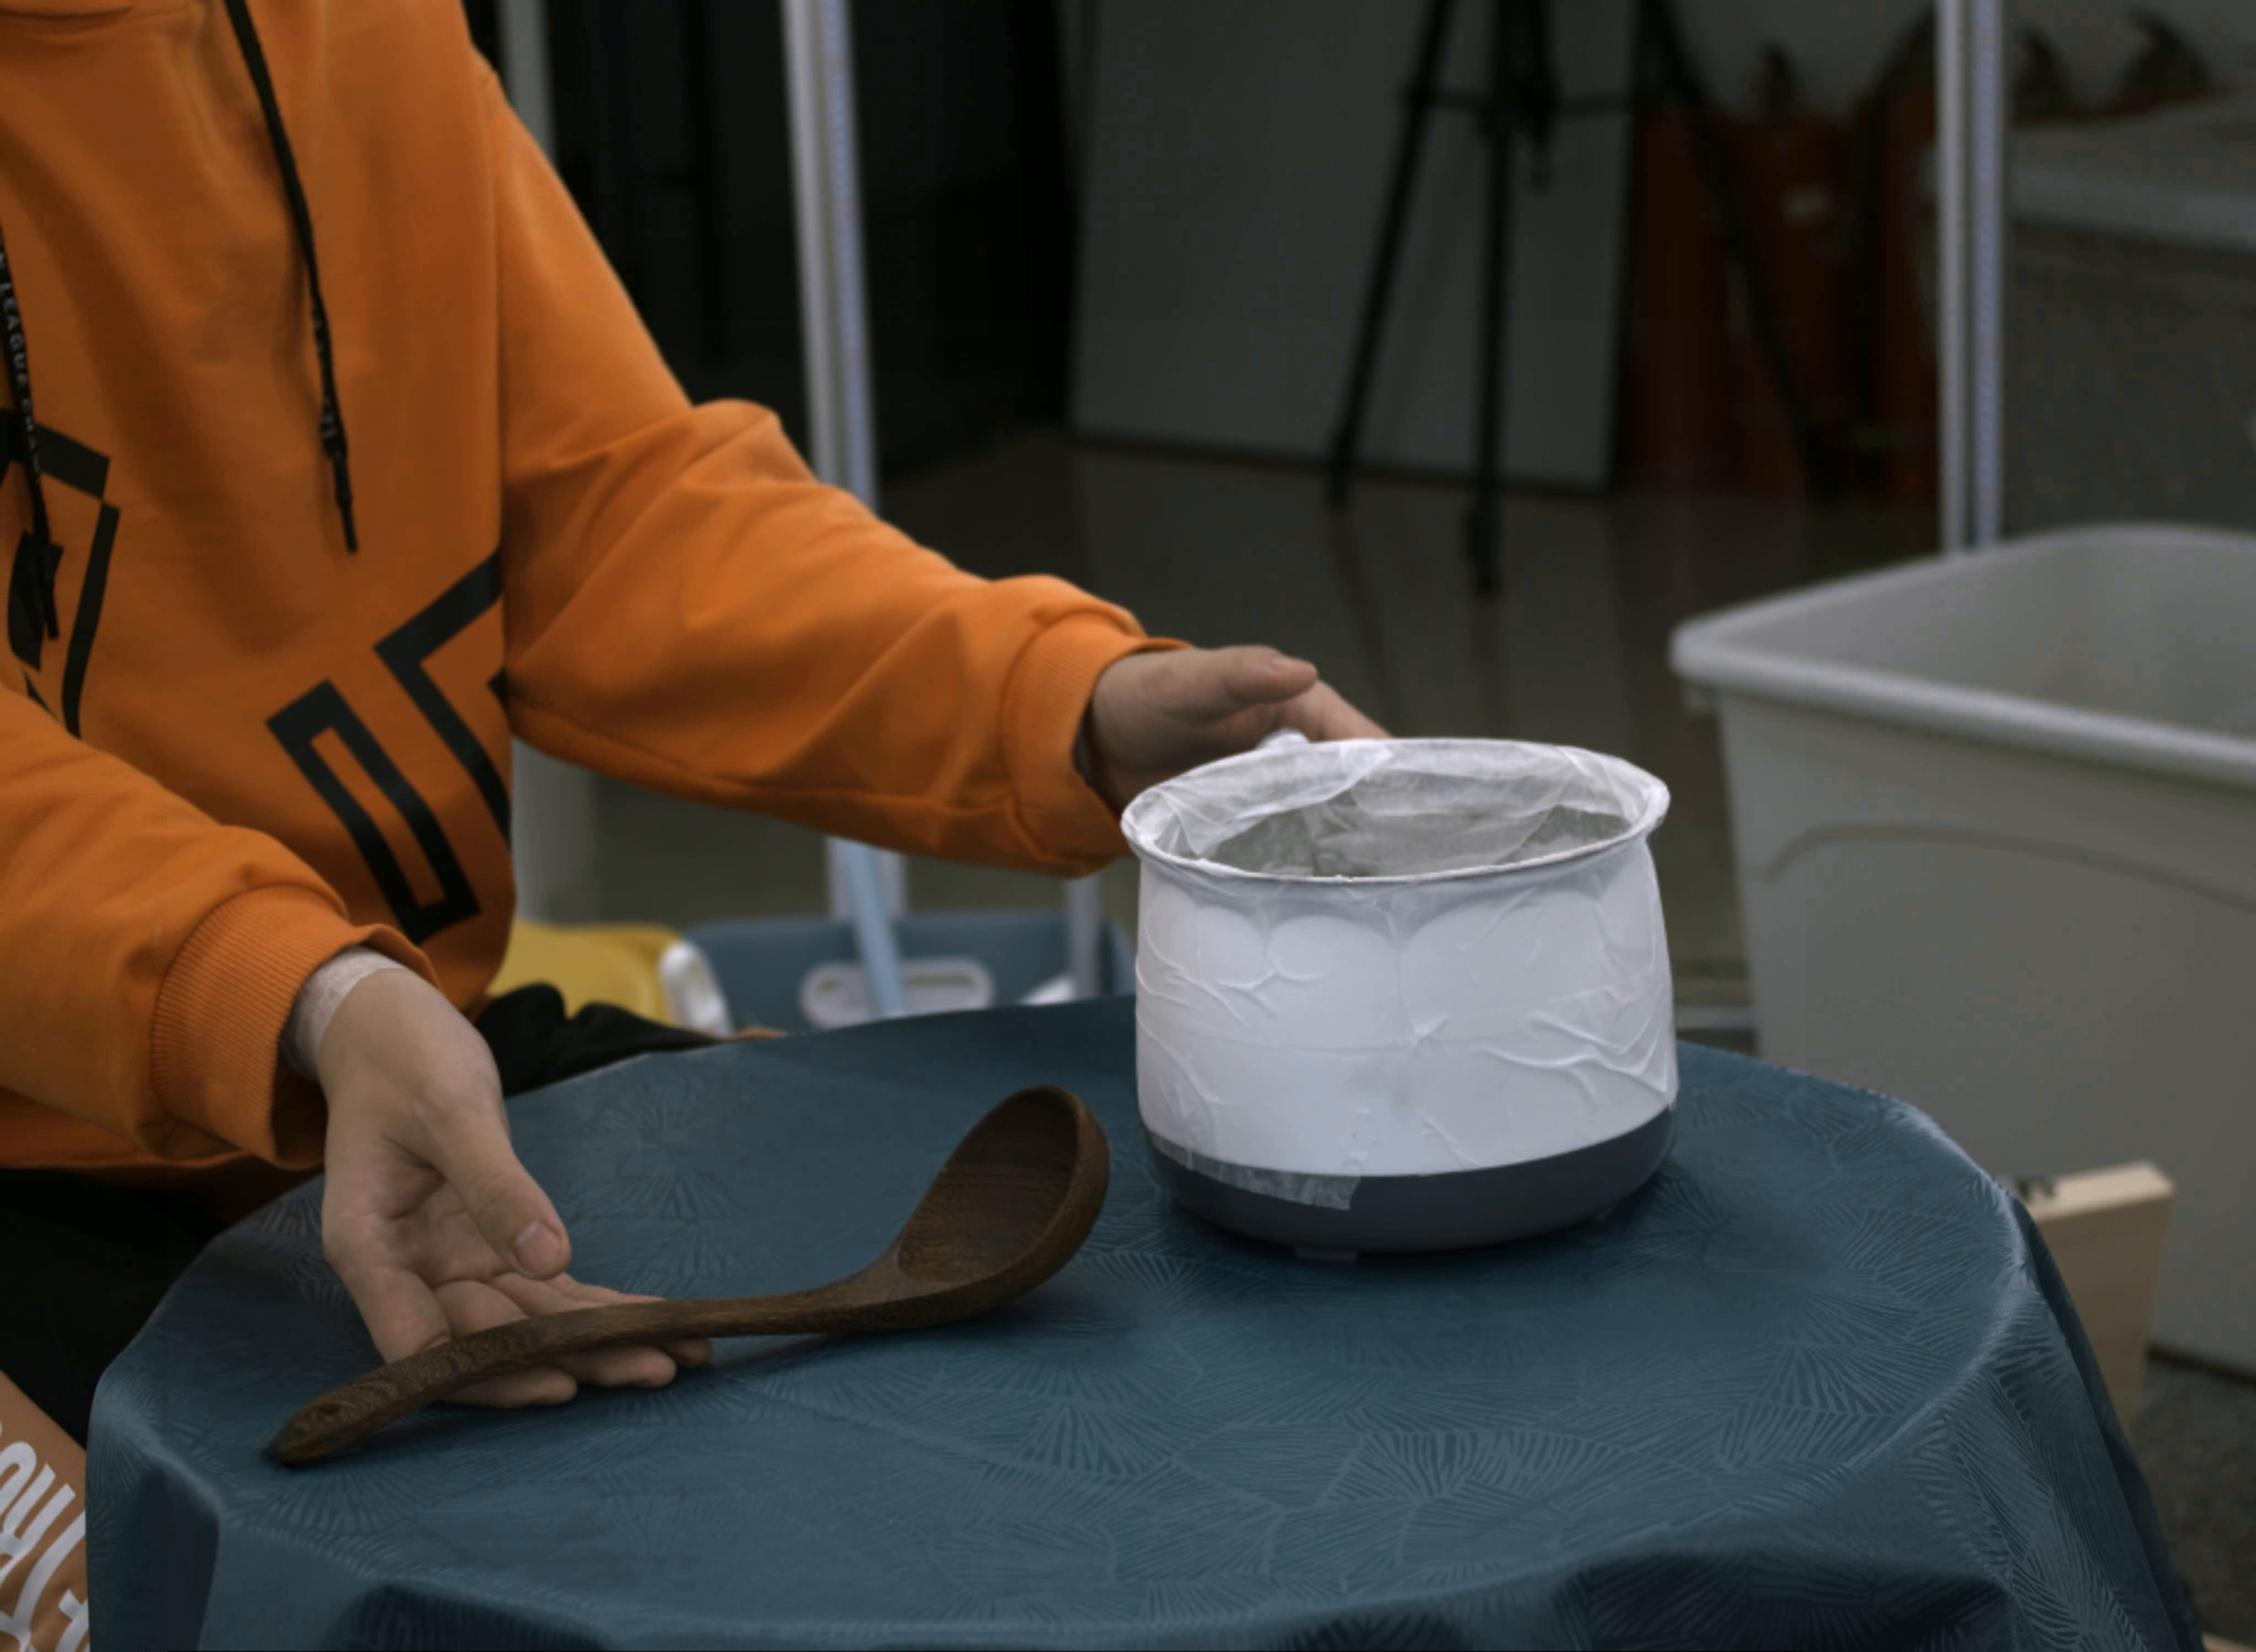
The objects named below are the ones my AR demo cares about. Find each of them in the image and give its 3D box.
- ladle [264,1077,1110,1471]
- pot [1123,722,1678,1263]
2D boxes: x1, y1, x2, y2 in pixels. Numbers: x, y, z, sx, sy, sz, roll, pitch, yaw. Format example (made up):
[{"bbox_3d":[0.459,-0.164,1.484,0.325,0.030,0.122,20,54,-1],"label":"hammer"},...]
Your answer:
[{"bbox_3d":[-0.130,0.132,1.621,0.268,0.072,0.077,-10,12,-24],"label":"ladle"},{"bbox_3d":[0.079,0.048,1.757,0.175,0.138,0.236,-8,14,-18],"label":"pot"}]
